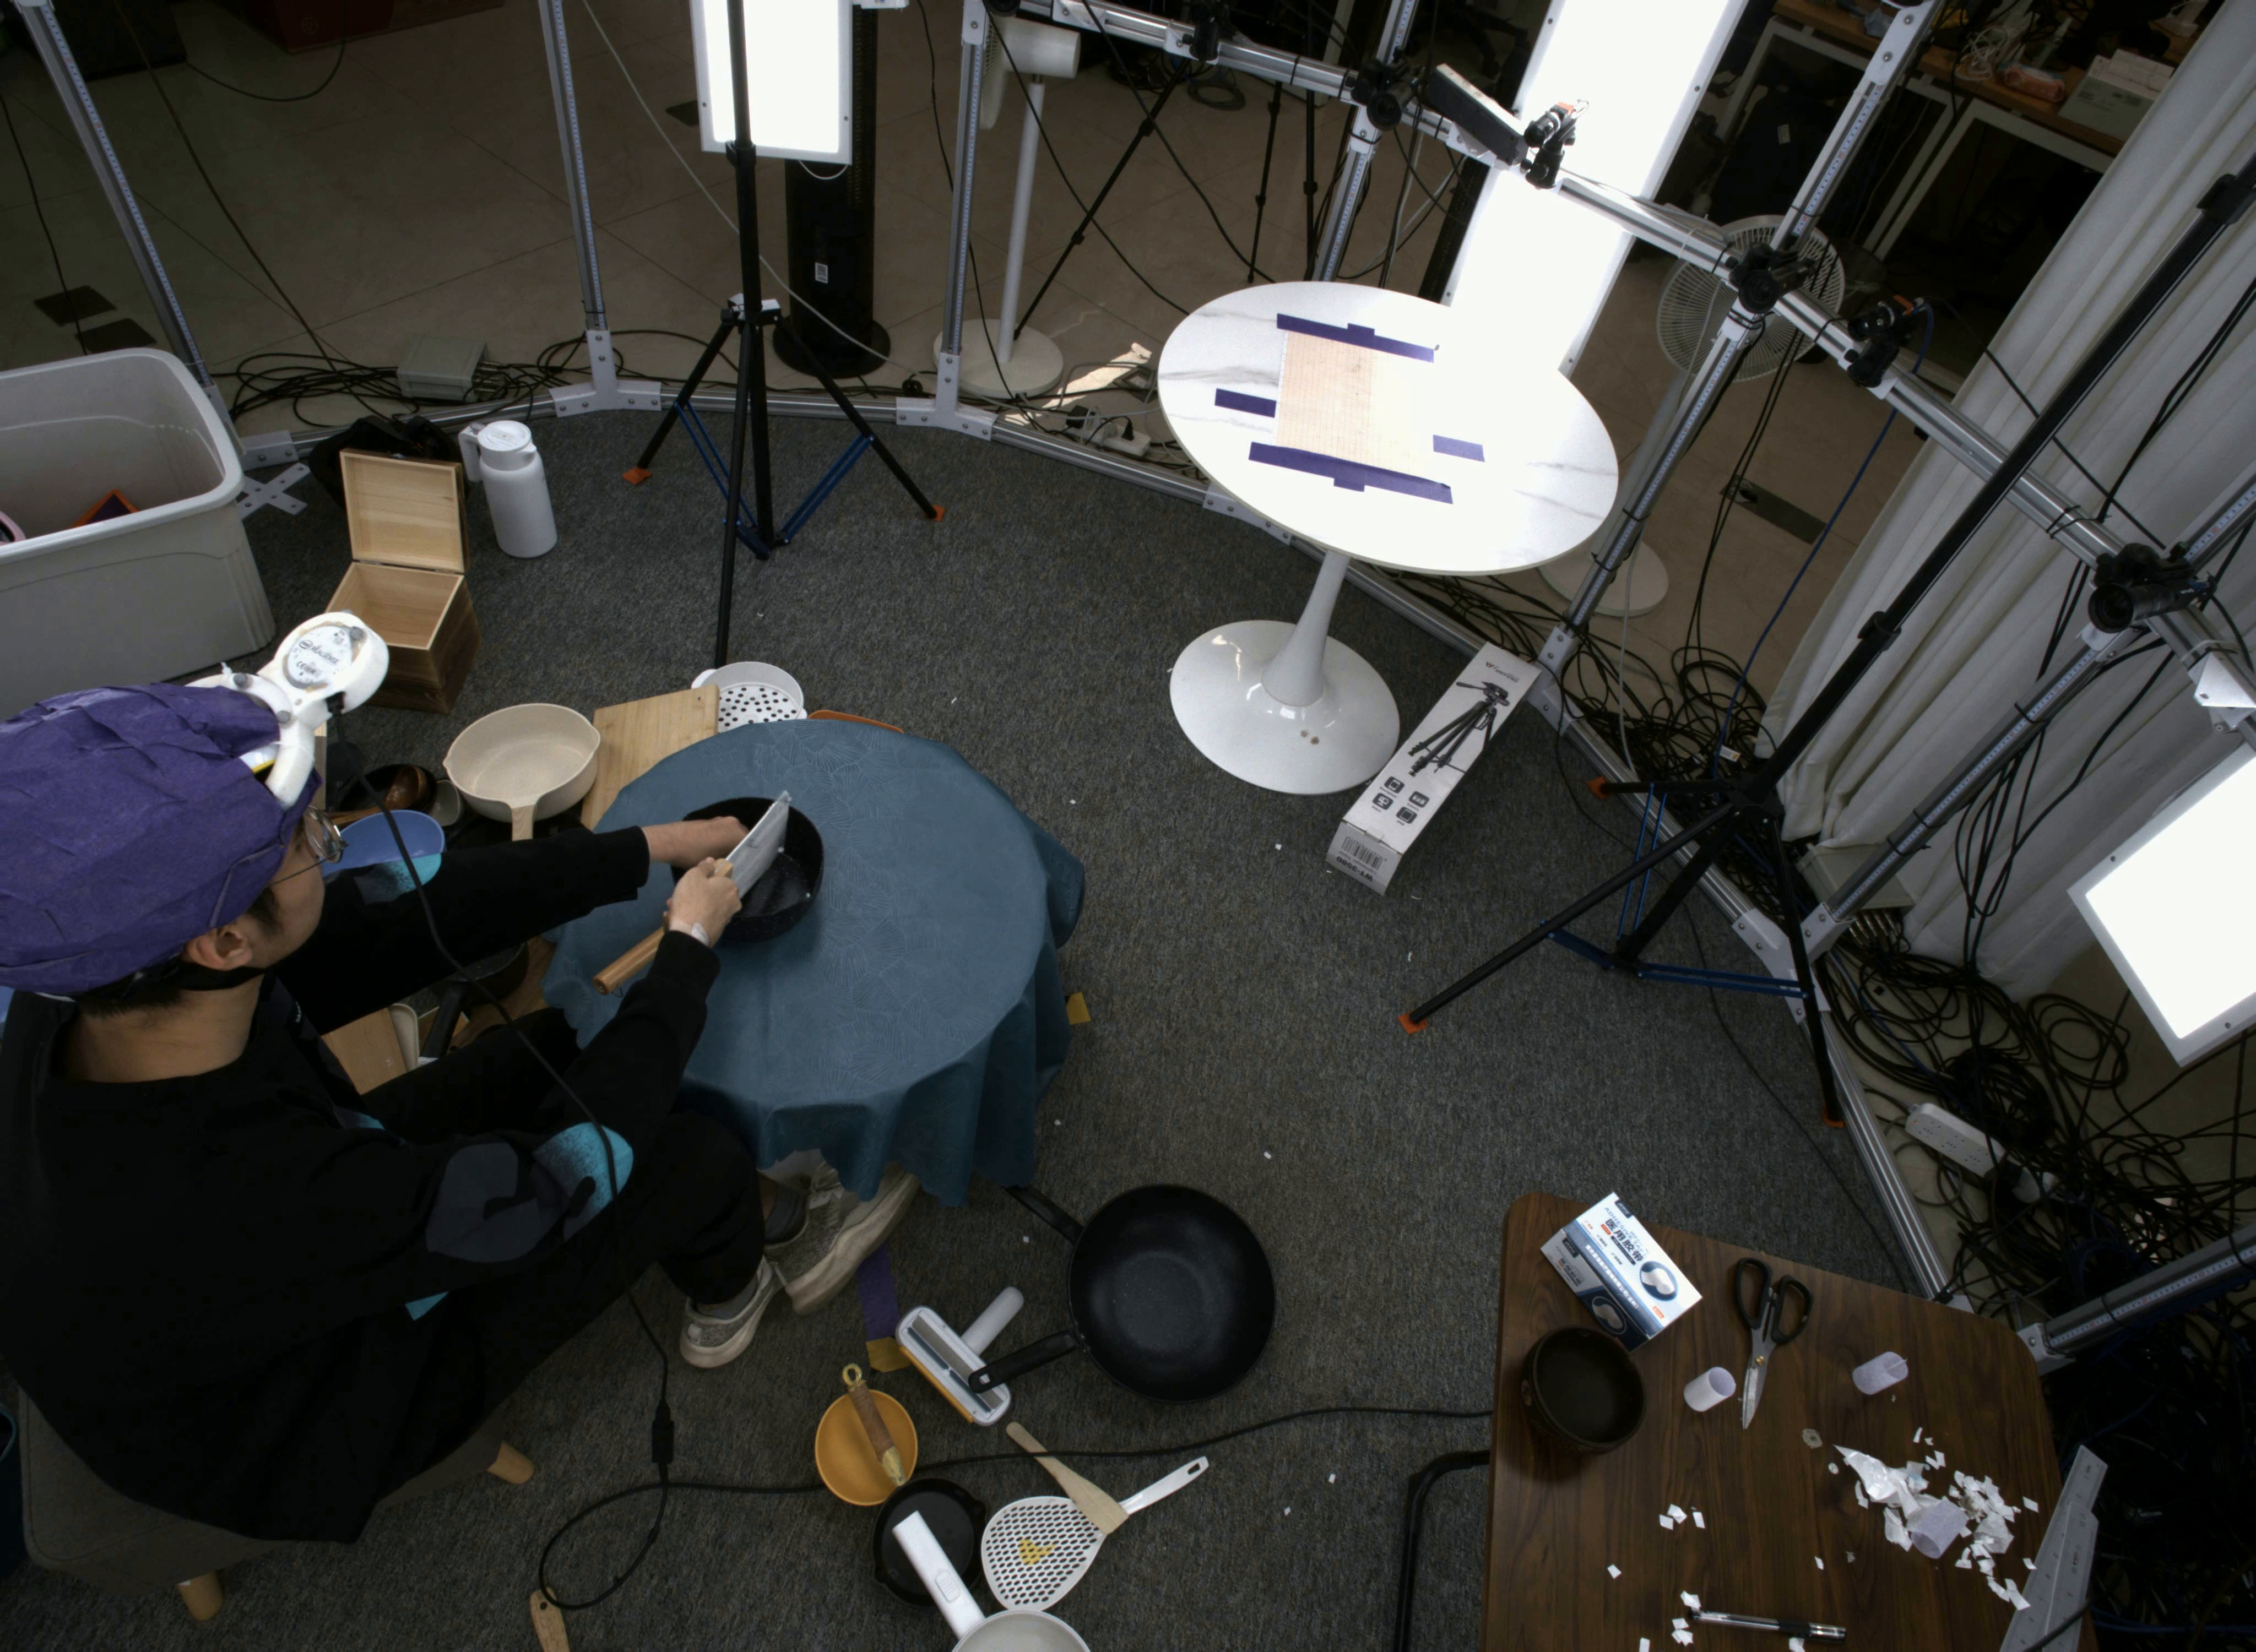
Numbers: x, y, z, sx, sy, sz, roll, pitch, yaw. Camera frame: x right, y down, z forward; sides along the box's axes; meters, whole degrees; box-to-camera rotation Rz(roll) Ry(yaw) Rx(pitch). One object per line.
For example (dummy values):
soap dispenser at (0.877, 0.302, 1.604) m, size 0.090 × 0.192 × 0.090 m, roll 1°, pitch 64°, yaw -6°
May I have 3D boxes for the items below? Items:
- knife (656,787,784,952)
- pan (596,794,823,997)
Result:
knife at (-0.460, 0.051, 1.489) m, size 0.021 × 0.116 × 0.312 m, roll 17°, pitch 26°, yaw 3°
pan at (-0.506, 0.102, 1.544) m, size 0.204 × 0.110 × 0.341 m, roll 30°, pitch 51°, yaw 8°
